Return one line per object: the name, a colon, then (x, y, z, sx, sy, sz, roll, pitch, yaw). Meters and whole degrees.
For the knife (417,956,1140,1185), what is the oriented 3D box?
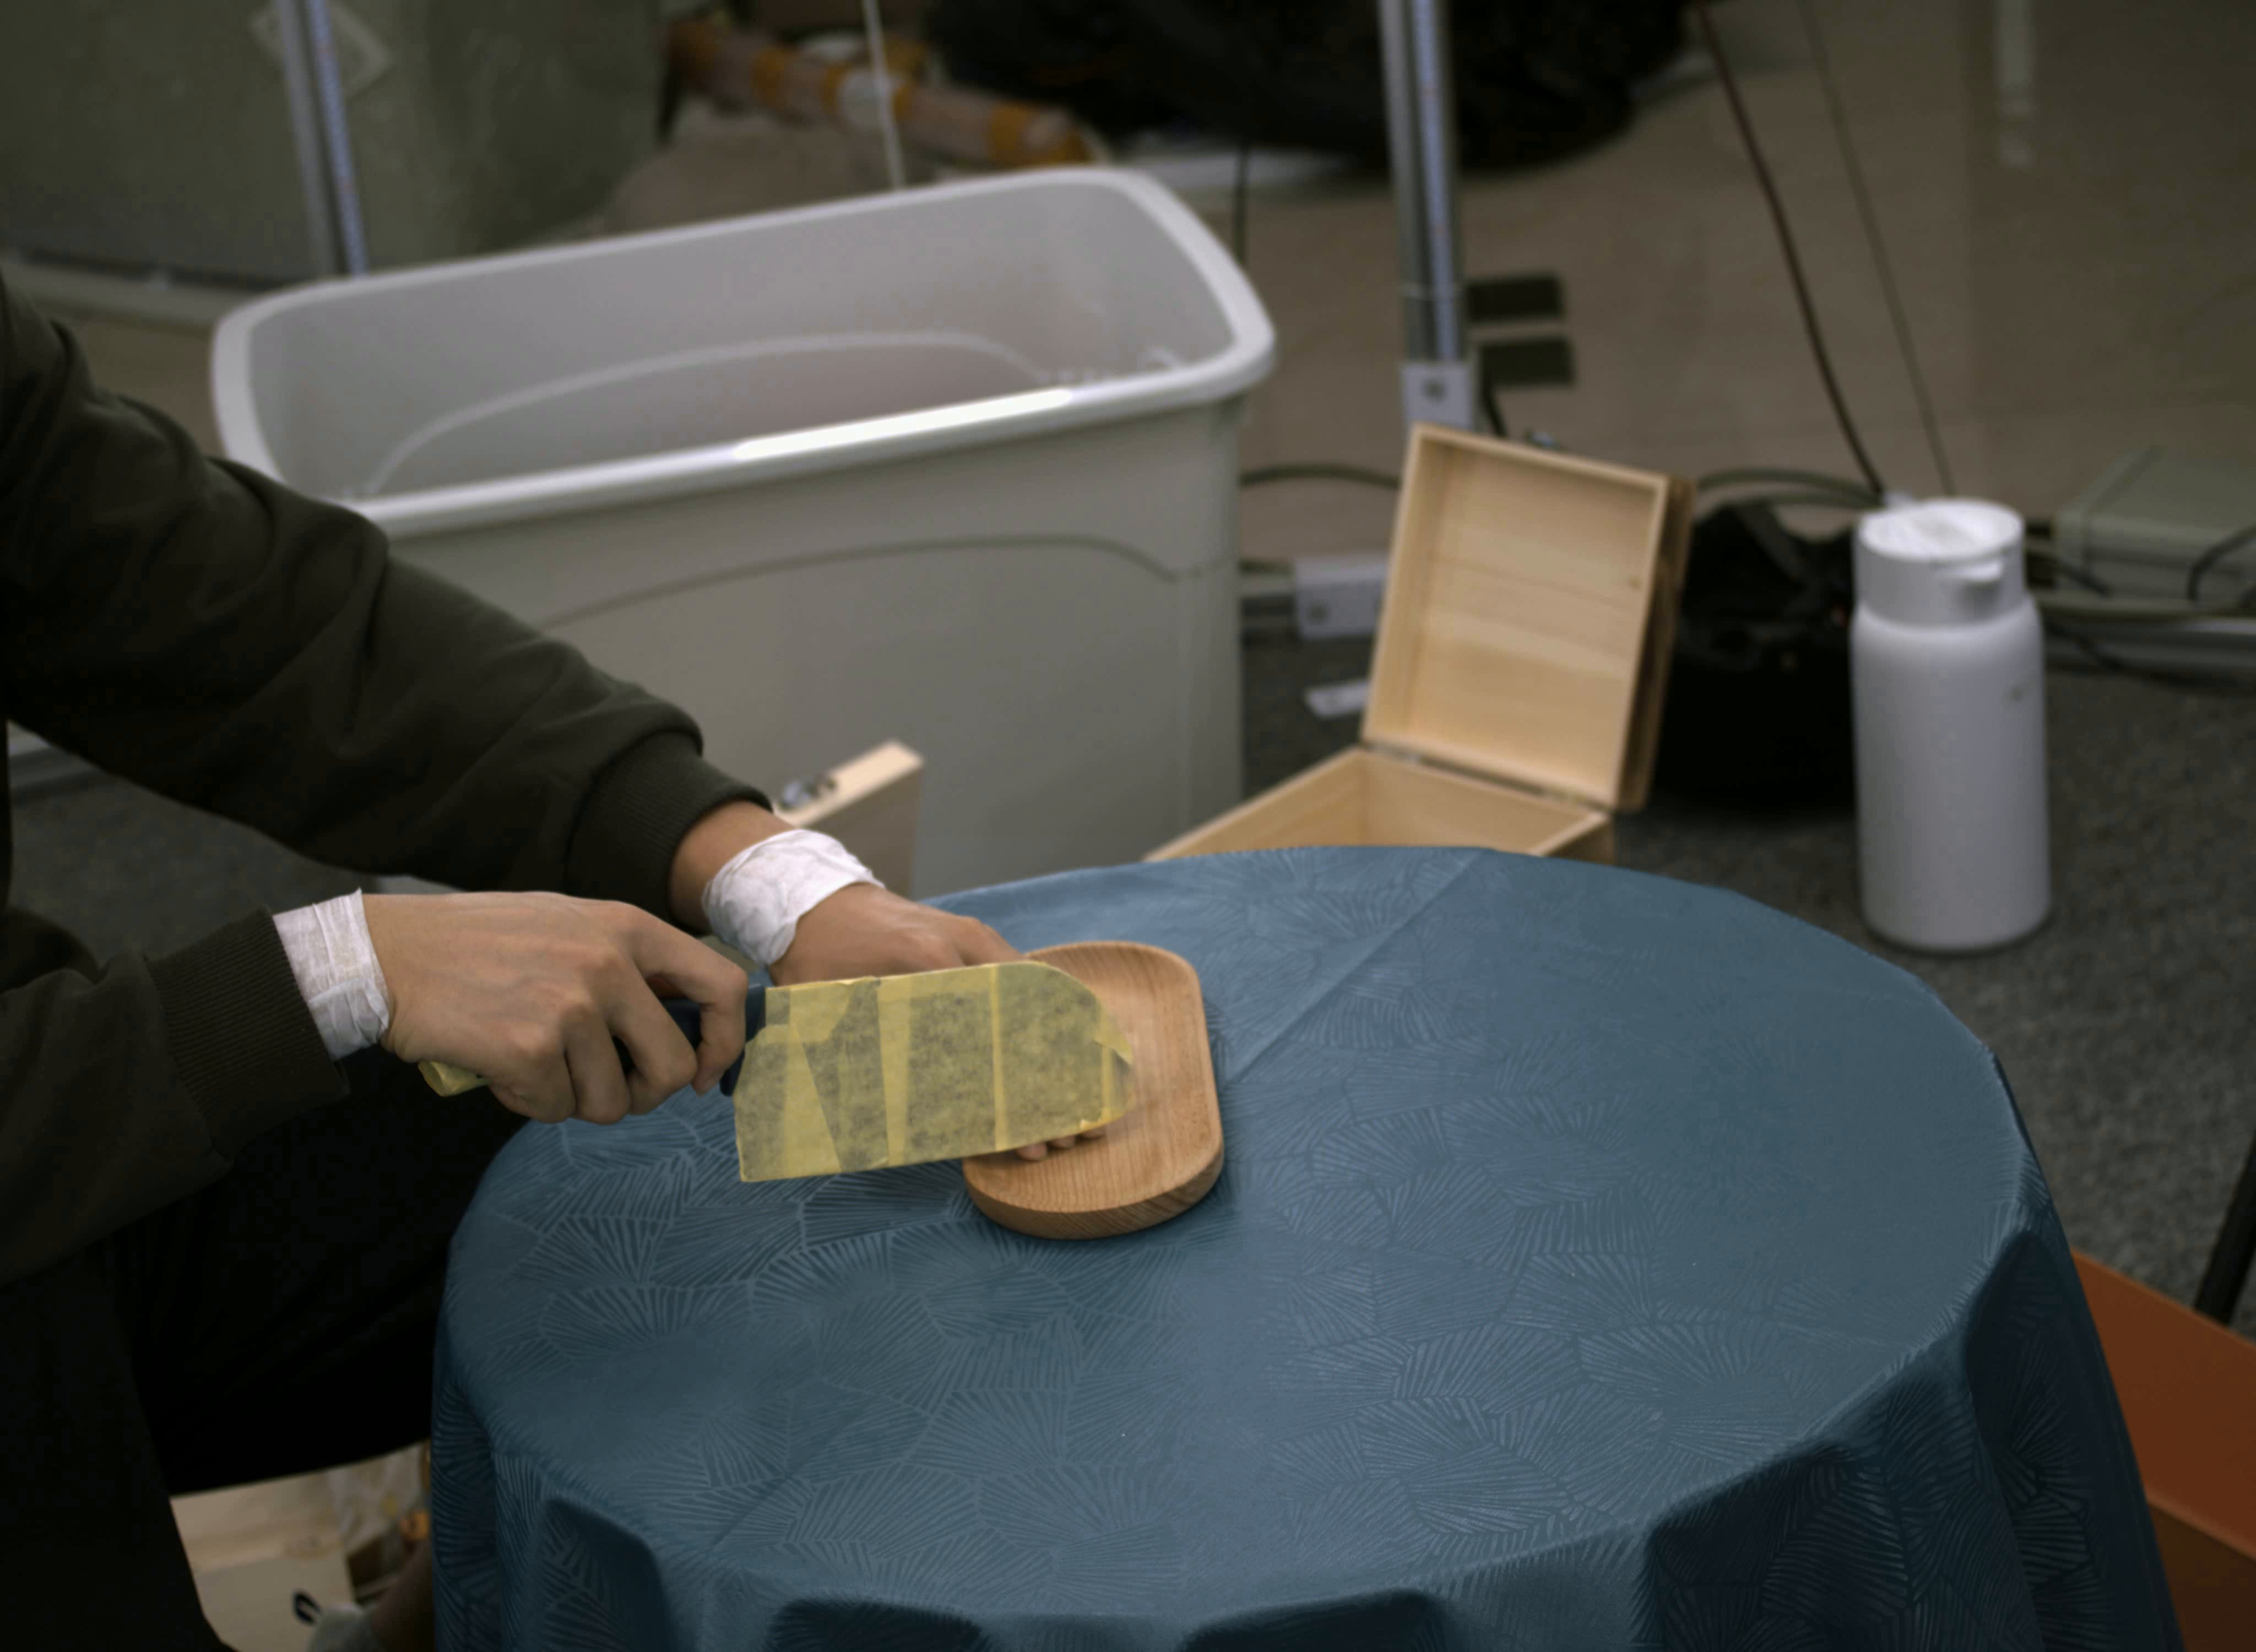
knife: (-0.126, 0.093, 2.117, 0.289, 0.081, 0.027, -2, 6, -24)

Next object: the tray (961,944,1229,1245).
tray: (-0.015, 0.103, 2.215, 0.101, 0.020, 0.227, -9, 26, 0)
